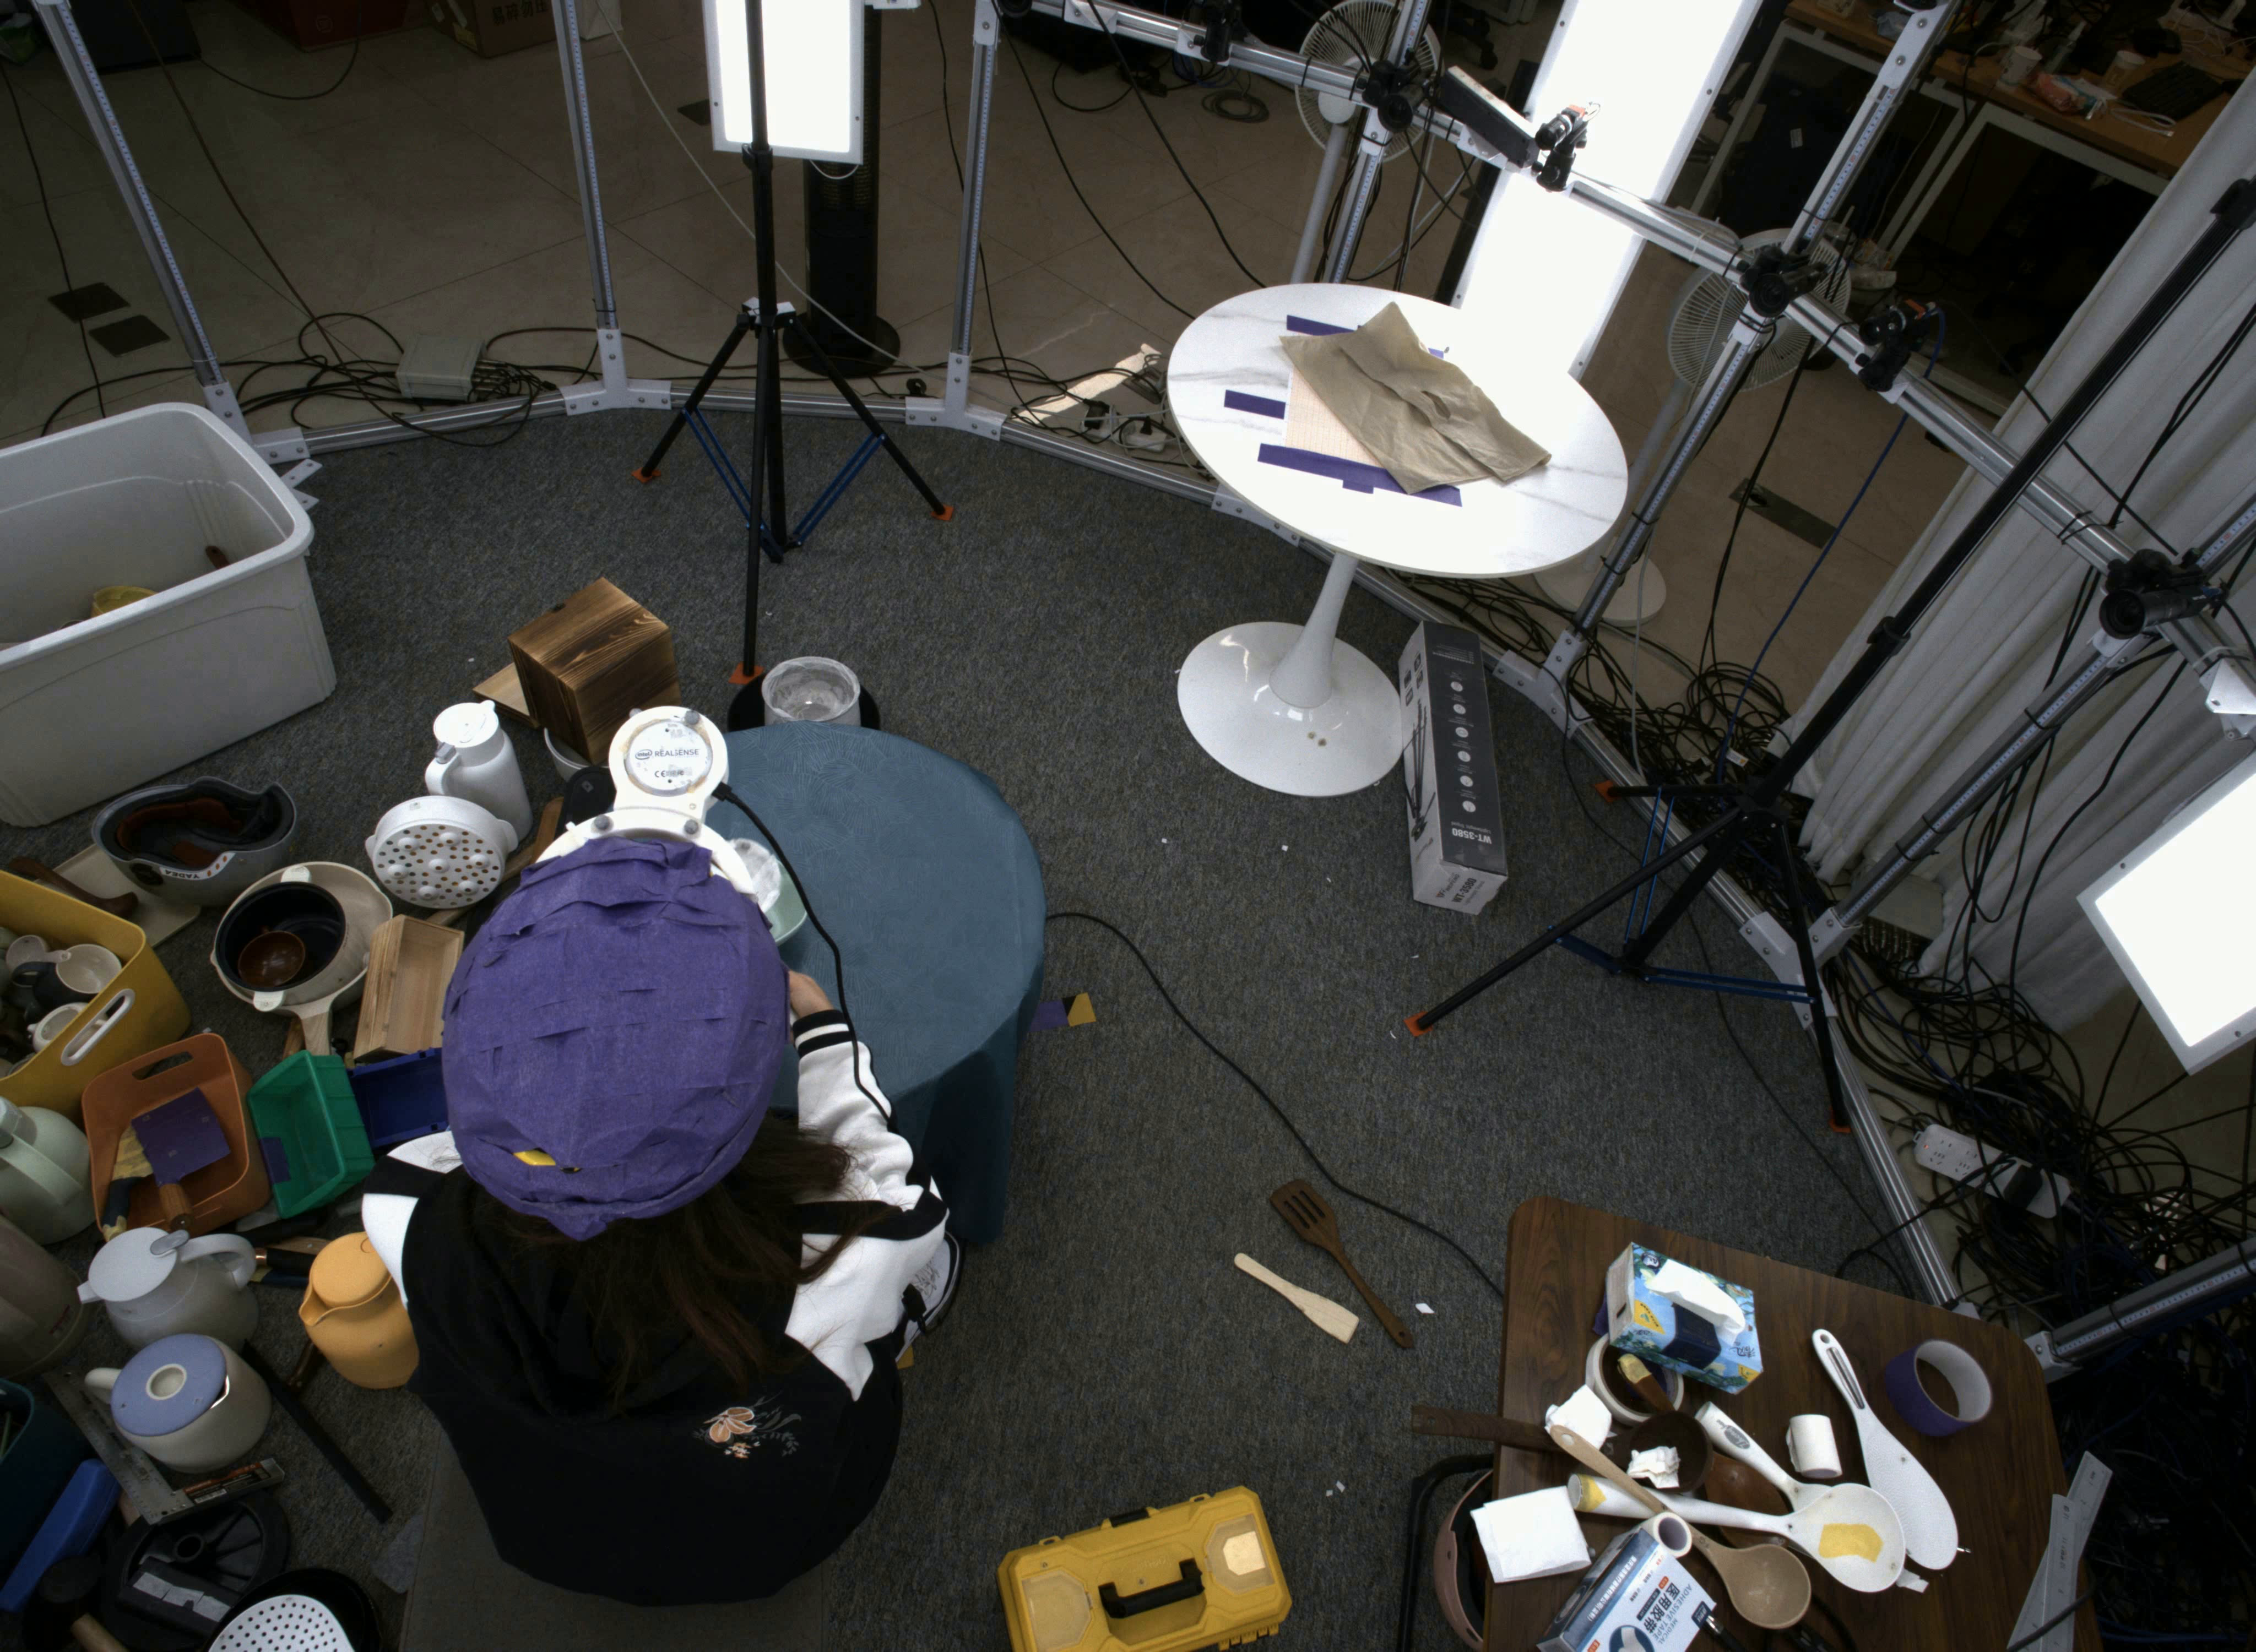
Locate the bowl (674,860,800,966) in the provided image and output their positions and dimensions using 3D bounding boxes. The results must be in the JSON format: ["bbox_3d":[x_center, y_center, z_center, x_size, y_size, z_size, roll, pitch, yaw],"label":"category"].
[{"bbox_3d":[-0.478,0.113,1.586,0.151,0.060,0.149,8,52,-8],"label":"bowl"}]

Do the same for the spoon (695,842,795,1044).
[{"bbox_3d":[-0.419,0.124,1.459,0.103,0.060,0.268,5,36,-41],"label":"spoon"}]
